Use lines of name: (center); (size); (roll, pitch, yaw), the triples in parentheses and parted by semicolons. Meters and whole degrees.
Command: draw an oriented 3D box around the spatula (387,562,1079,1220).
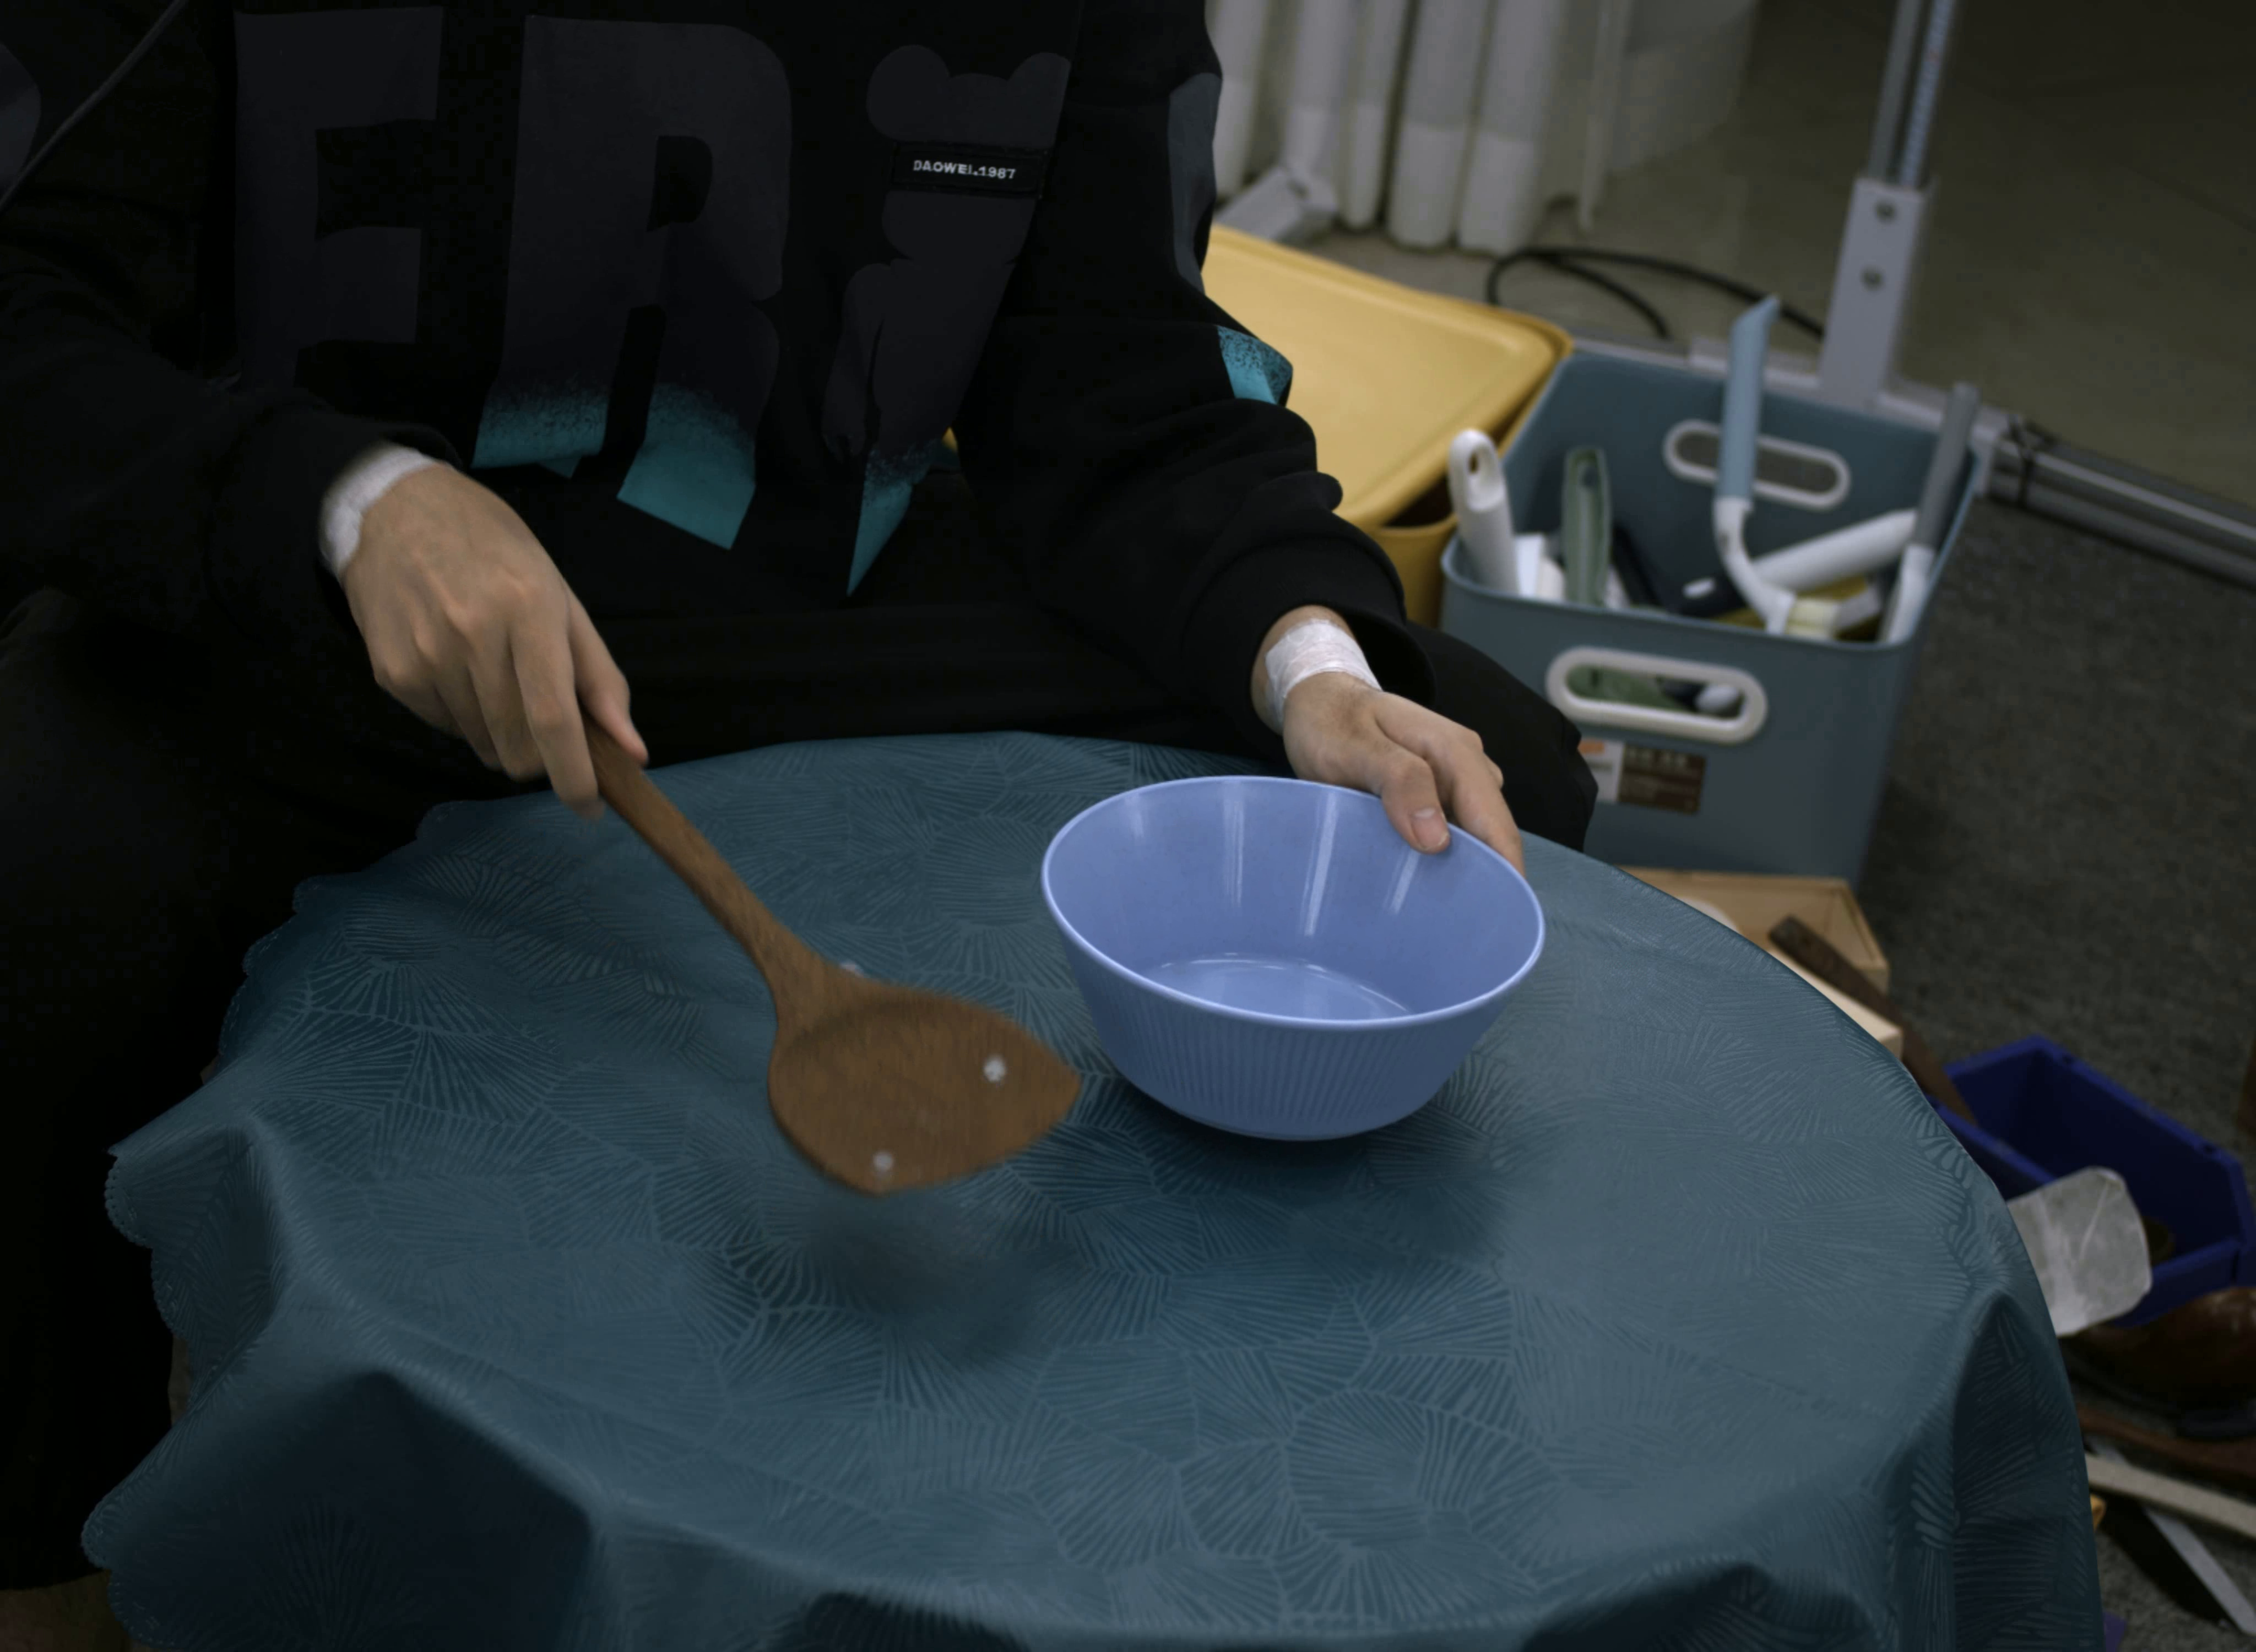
spatula: (-0.155, 0.011, 1.819); (0.095, 0.016, 0.389); (-22, 47, -27)

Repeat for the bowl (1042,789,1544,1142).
bowl: (0.054, 0.054, 1.852); (0.175, 0.070, 0.177); (5, 26, -3)
